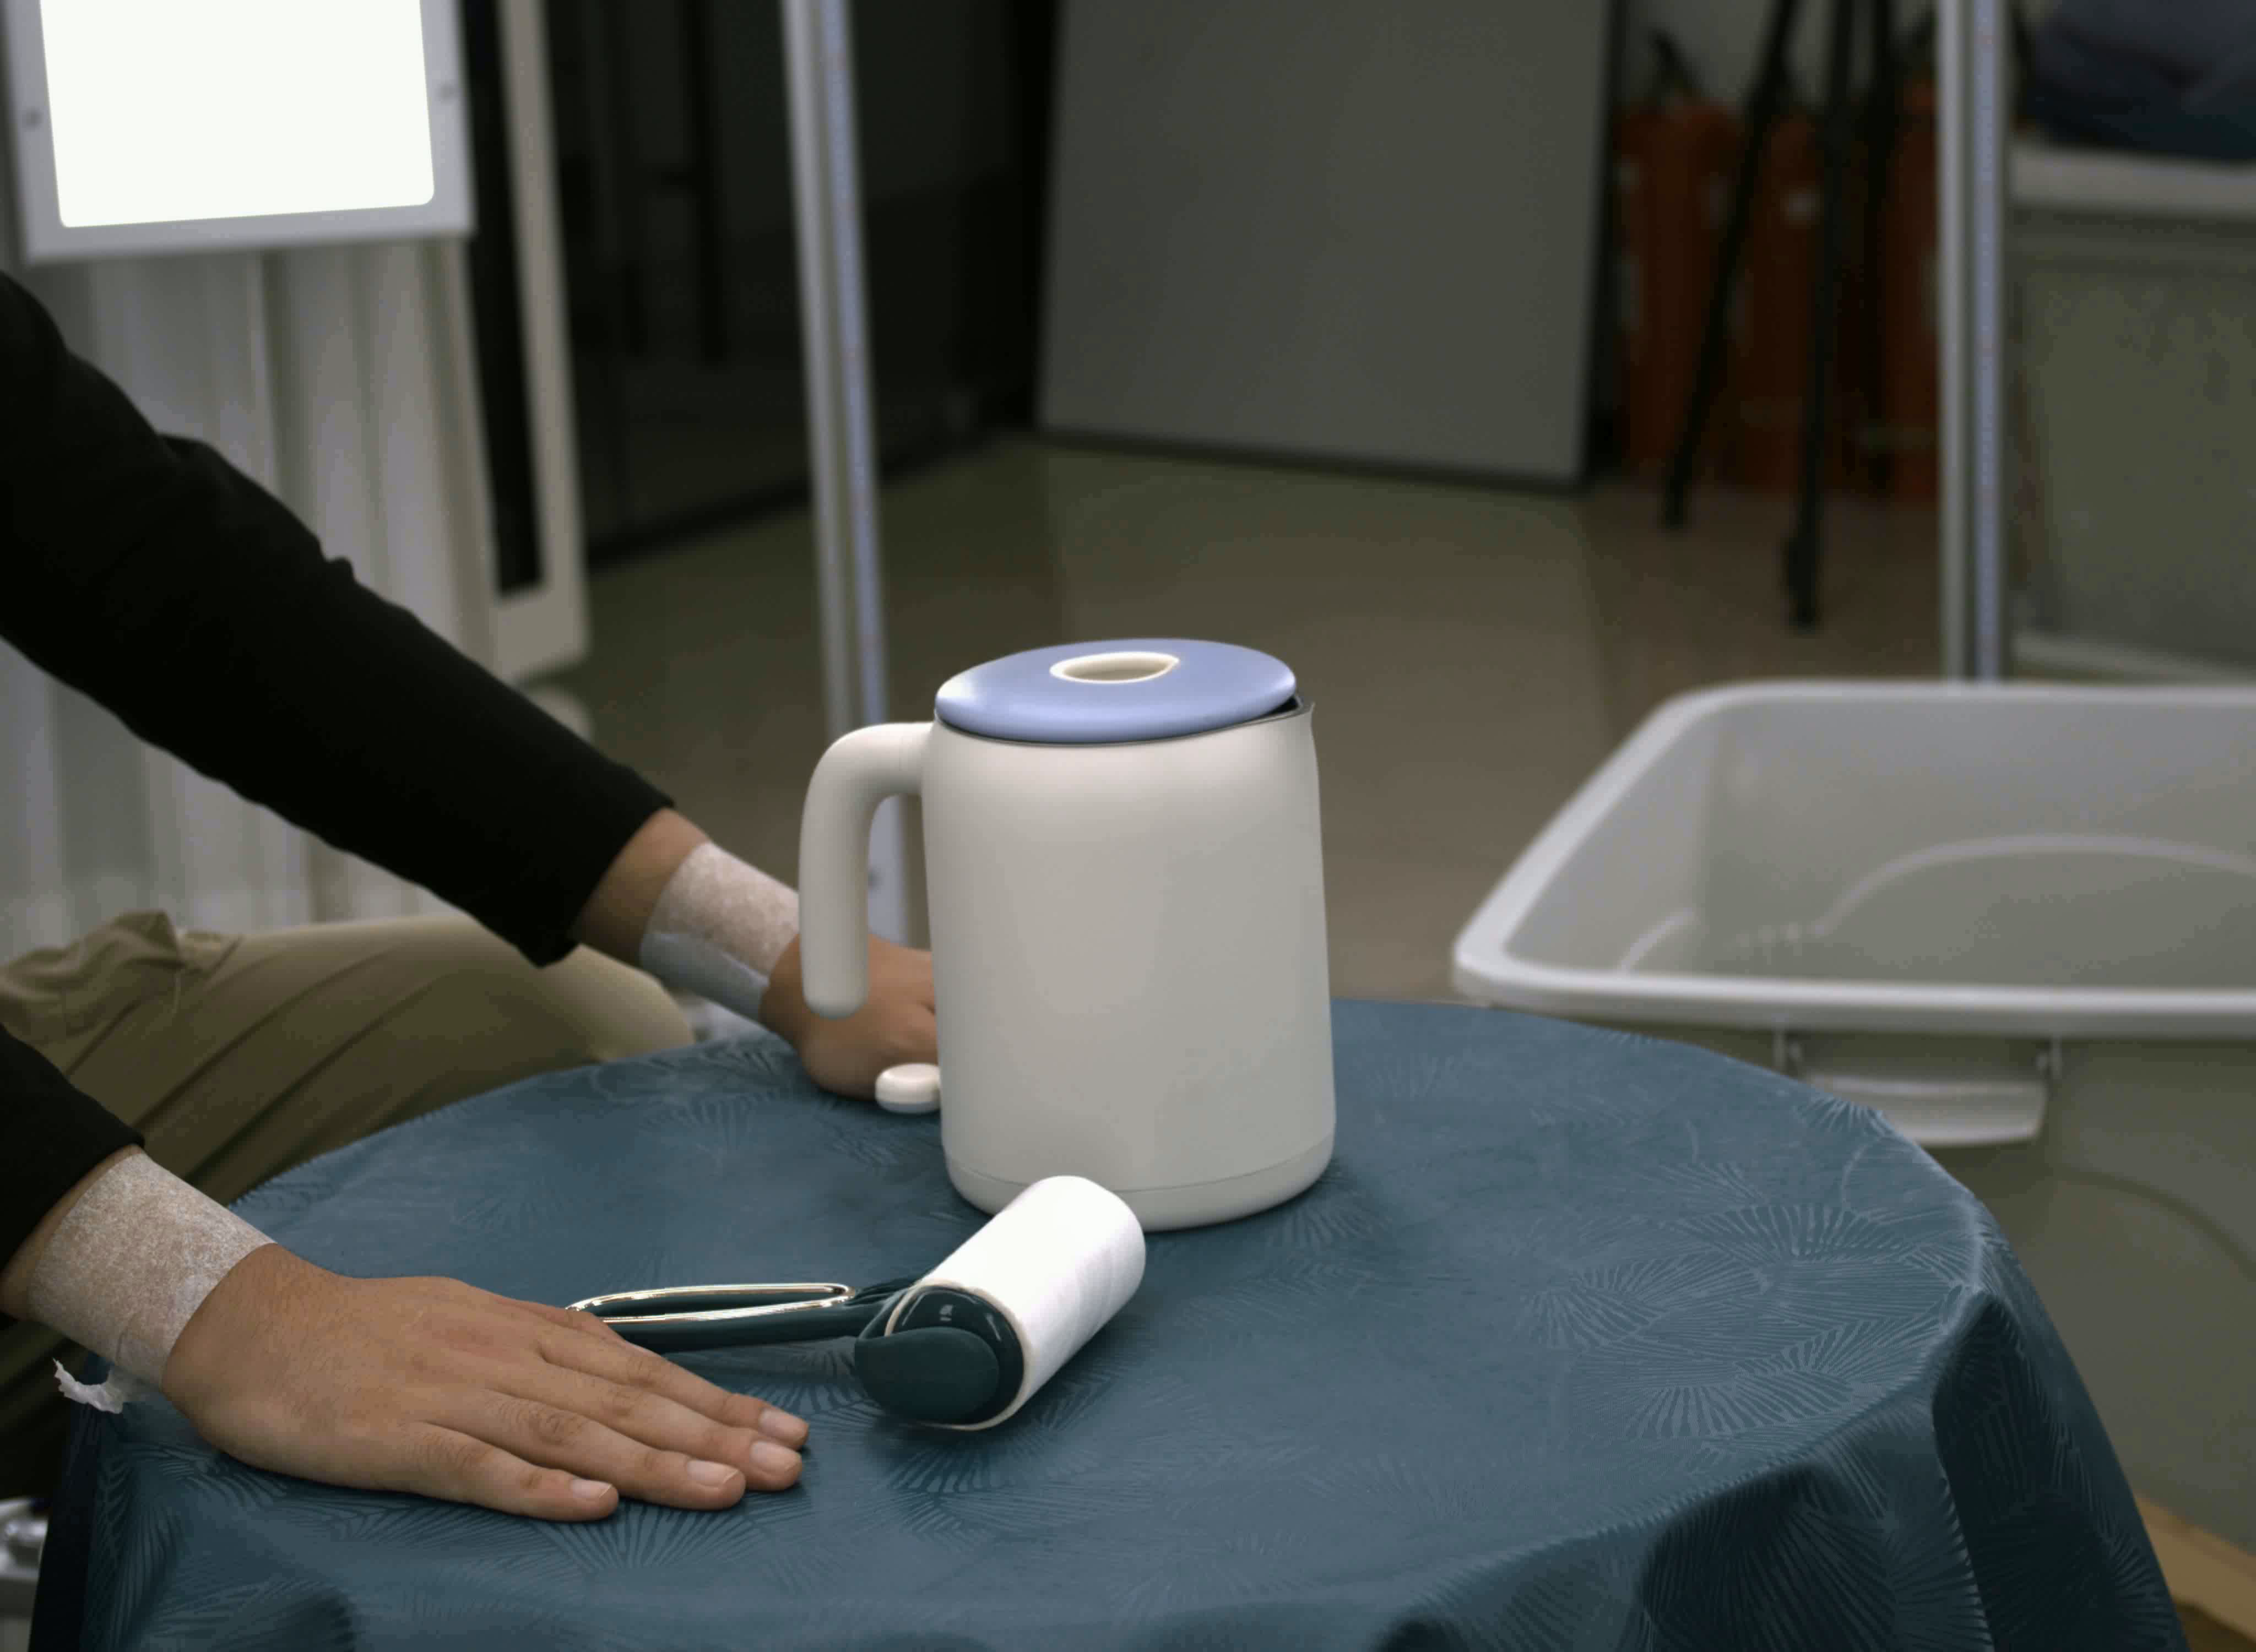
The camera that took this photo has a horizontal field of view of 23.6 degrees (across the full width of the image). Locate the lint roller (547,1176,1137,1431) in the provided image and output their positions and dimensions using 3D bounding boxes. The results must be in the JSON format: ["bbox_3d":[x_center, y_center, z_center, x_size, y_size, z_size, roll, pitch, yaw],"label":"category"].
[{"bbox_3d":[-0.096,0.142,1.625,0.180,0.049,0.133,-1,14,22],"label":"lint roller"}]

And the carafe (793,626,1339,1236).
[{"bbox_3d":[-0.022,0.034,1.771,0.191,0.184,0.131,-1,13,22],"label":"carafe"}]
